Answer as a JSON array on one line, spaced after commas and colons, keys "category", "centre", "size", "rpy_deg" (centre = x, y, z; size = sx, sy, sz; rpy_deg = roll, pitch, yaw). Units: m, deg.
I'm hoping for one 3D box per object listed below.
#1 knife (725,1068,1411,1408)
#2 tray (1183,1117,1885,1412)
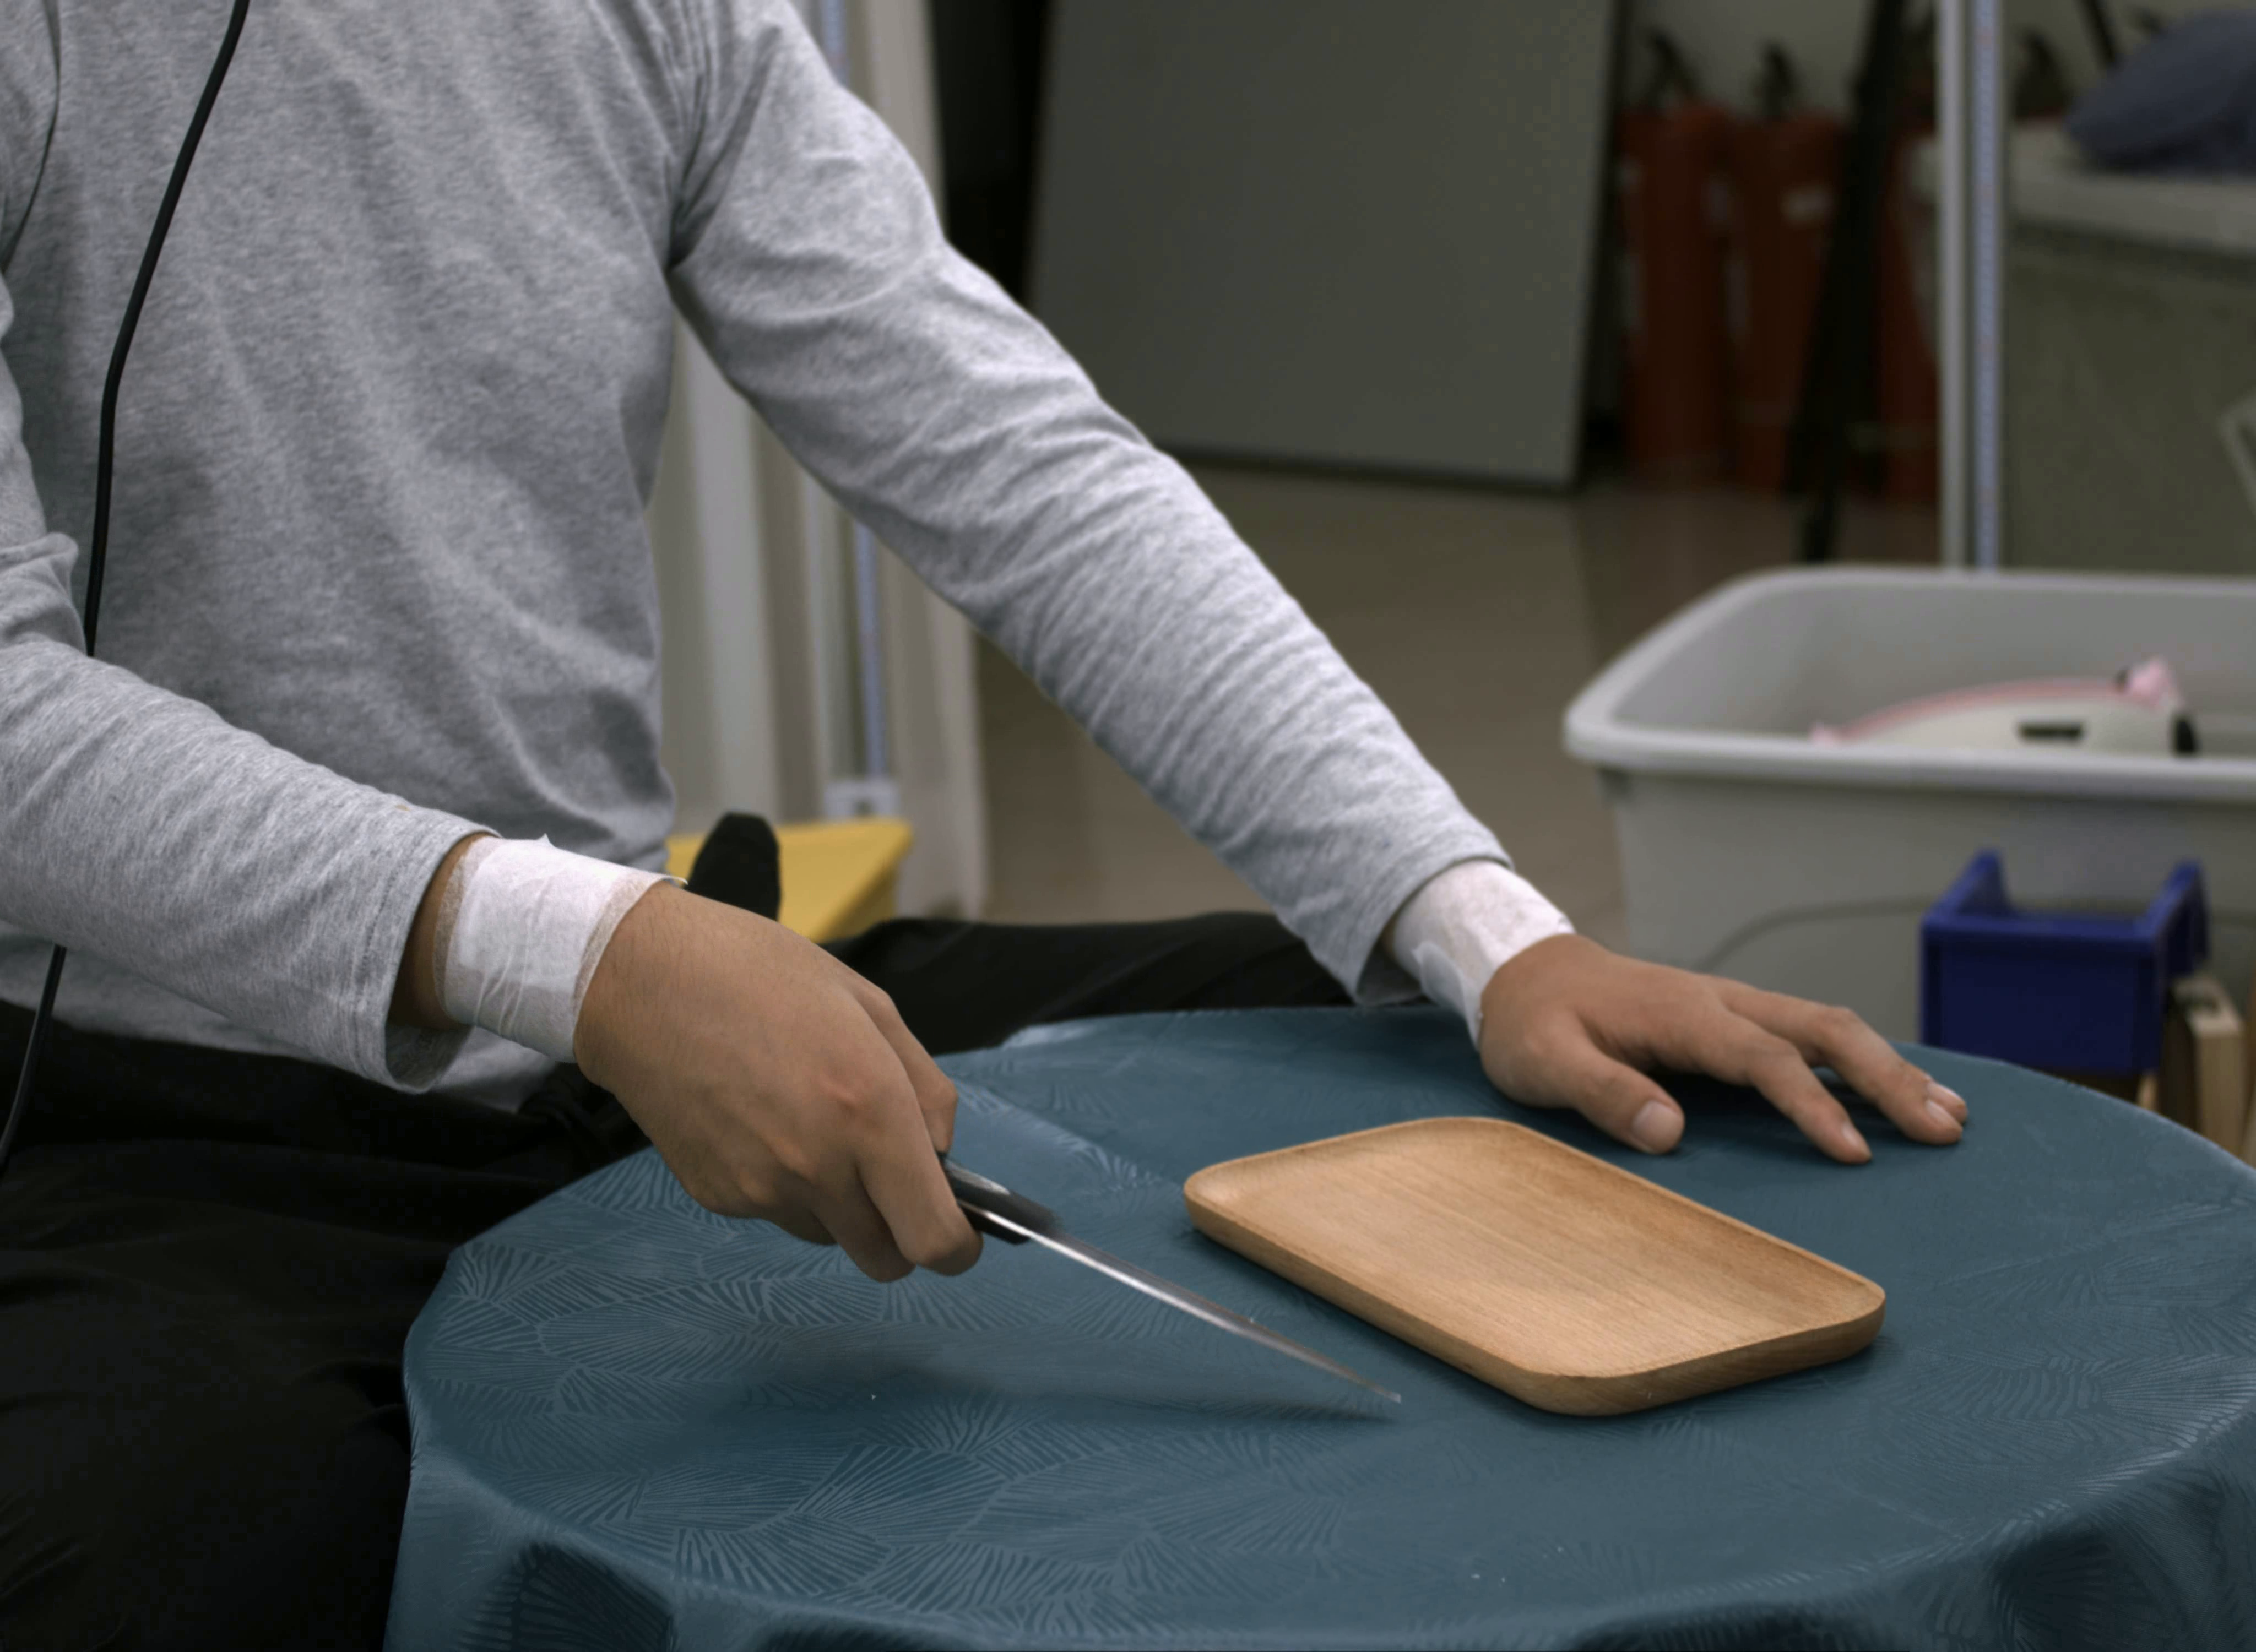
[{"category": "knife", "centre": [-0.021, 0.123, 1.594], "size": [0.238, 0.016, 0.024], "rpy_deg": [24, 14, 21]}, {"category": "tray", "centre": [0.121, 0.132, 1.658], "size": [0.127, 0.023, 0.253], "rpy_deg": [-7, 13, -25]}]
